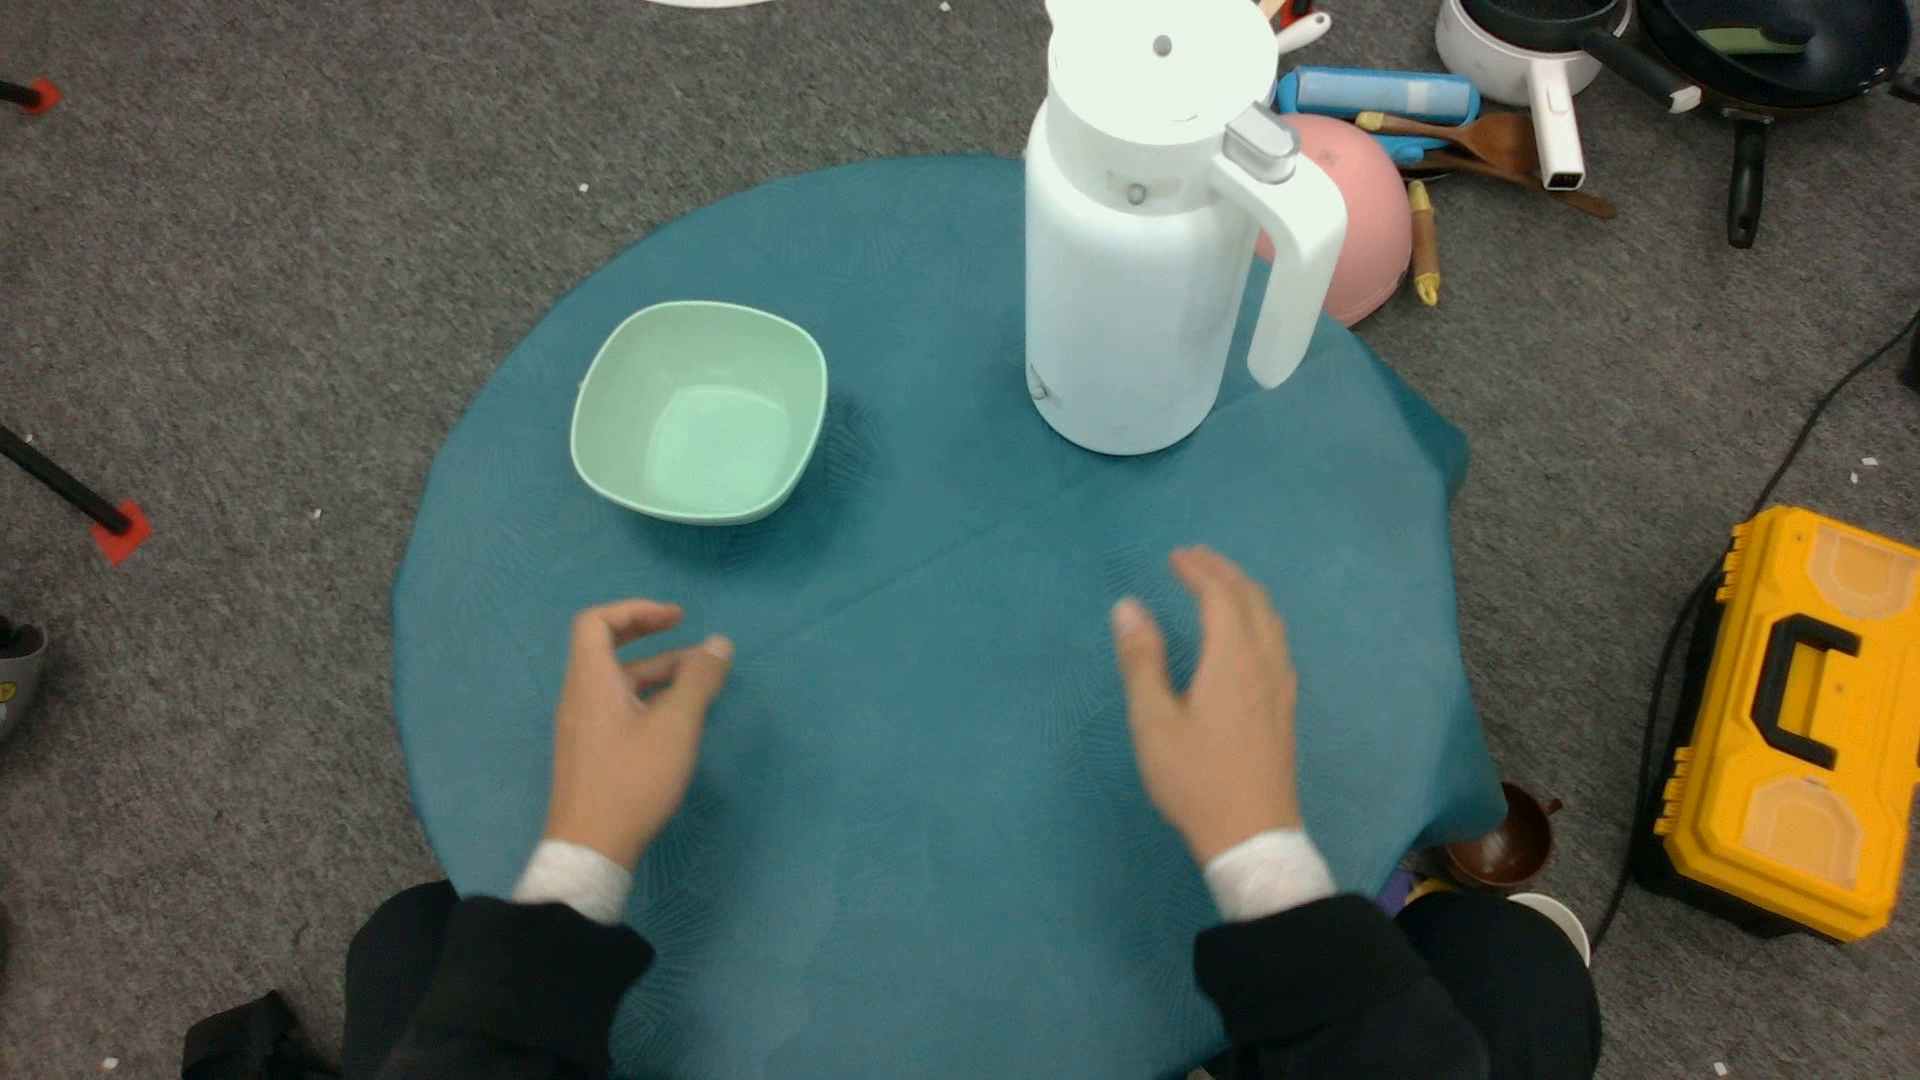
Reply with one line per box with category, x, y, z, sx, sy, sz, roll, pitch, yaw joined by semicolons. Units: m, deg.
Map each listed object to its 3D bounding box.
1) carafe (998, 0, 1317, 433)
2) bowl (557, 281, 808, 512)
carafe;0.091;-0.156;0.708;0.124;0.268;0.173;-41;71;-18
bowl;-0.156;-0.075;0.800;0.151;0.058;0.152;0;72;0
